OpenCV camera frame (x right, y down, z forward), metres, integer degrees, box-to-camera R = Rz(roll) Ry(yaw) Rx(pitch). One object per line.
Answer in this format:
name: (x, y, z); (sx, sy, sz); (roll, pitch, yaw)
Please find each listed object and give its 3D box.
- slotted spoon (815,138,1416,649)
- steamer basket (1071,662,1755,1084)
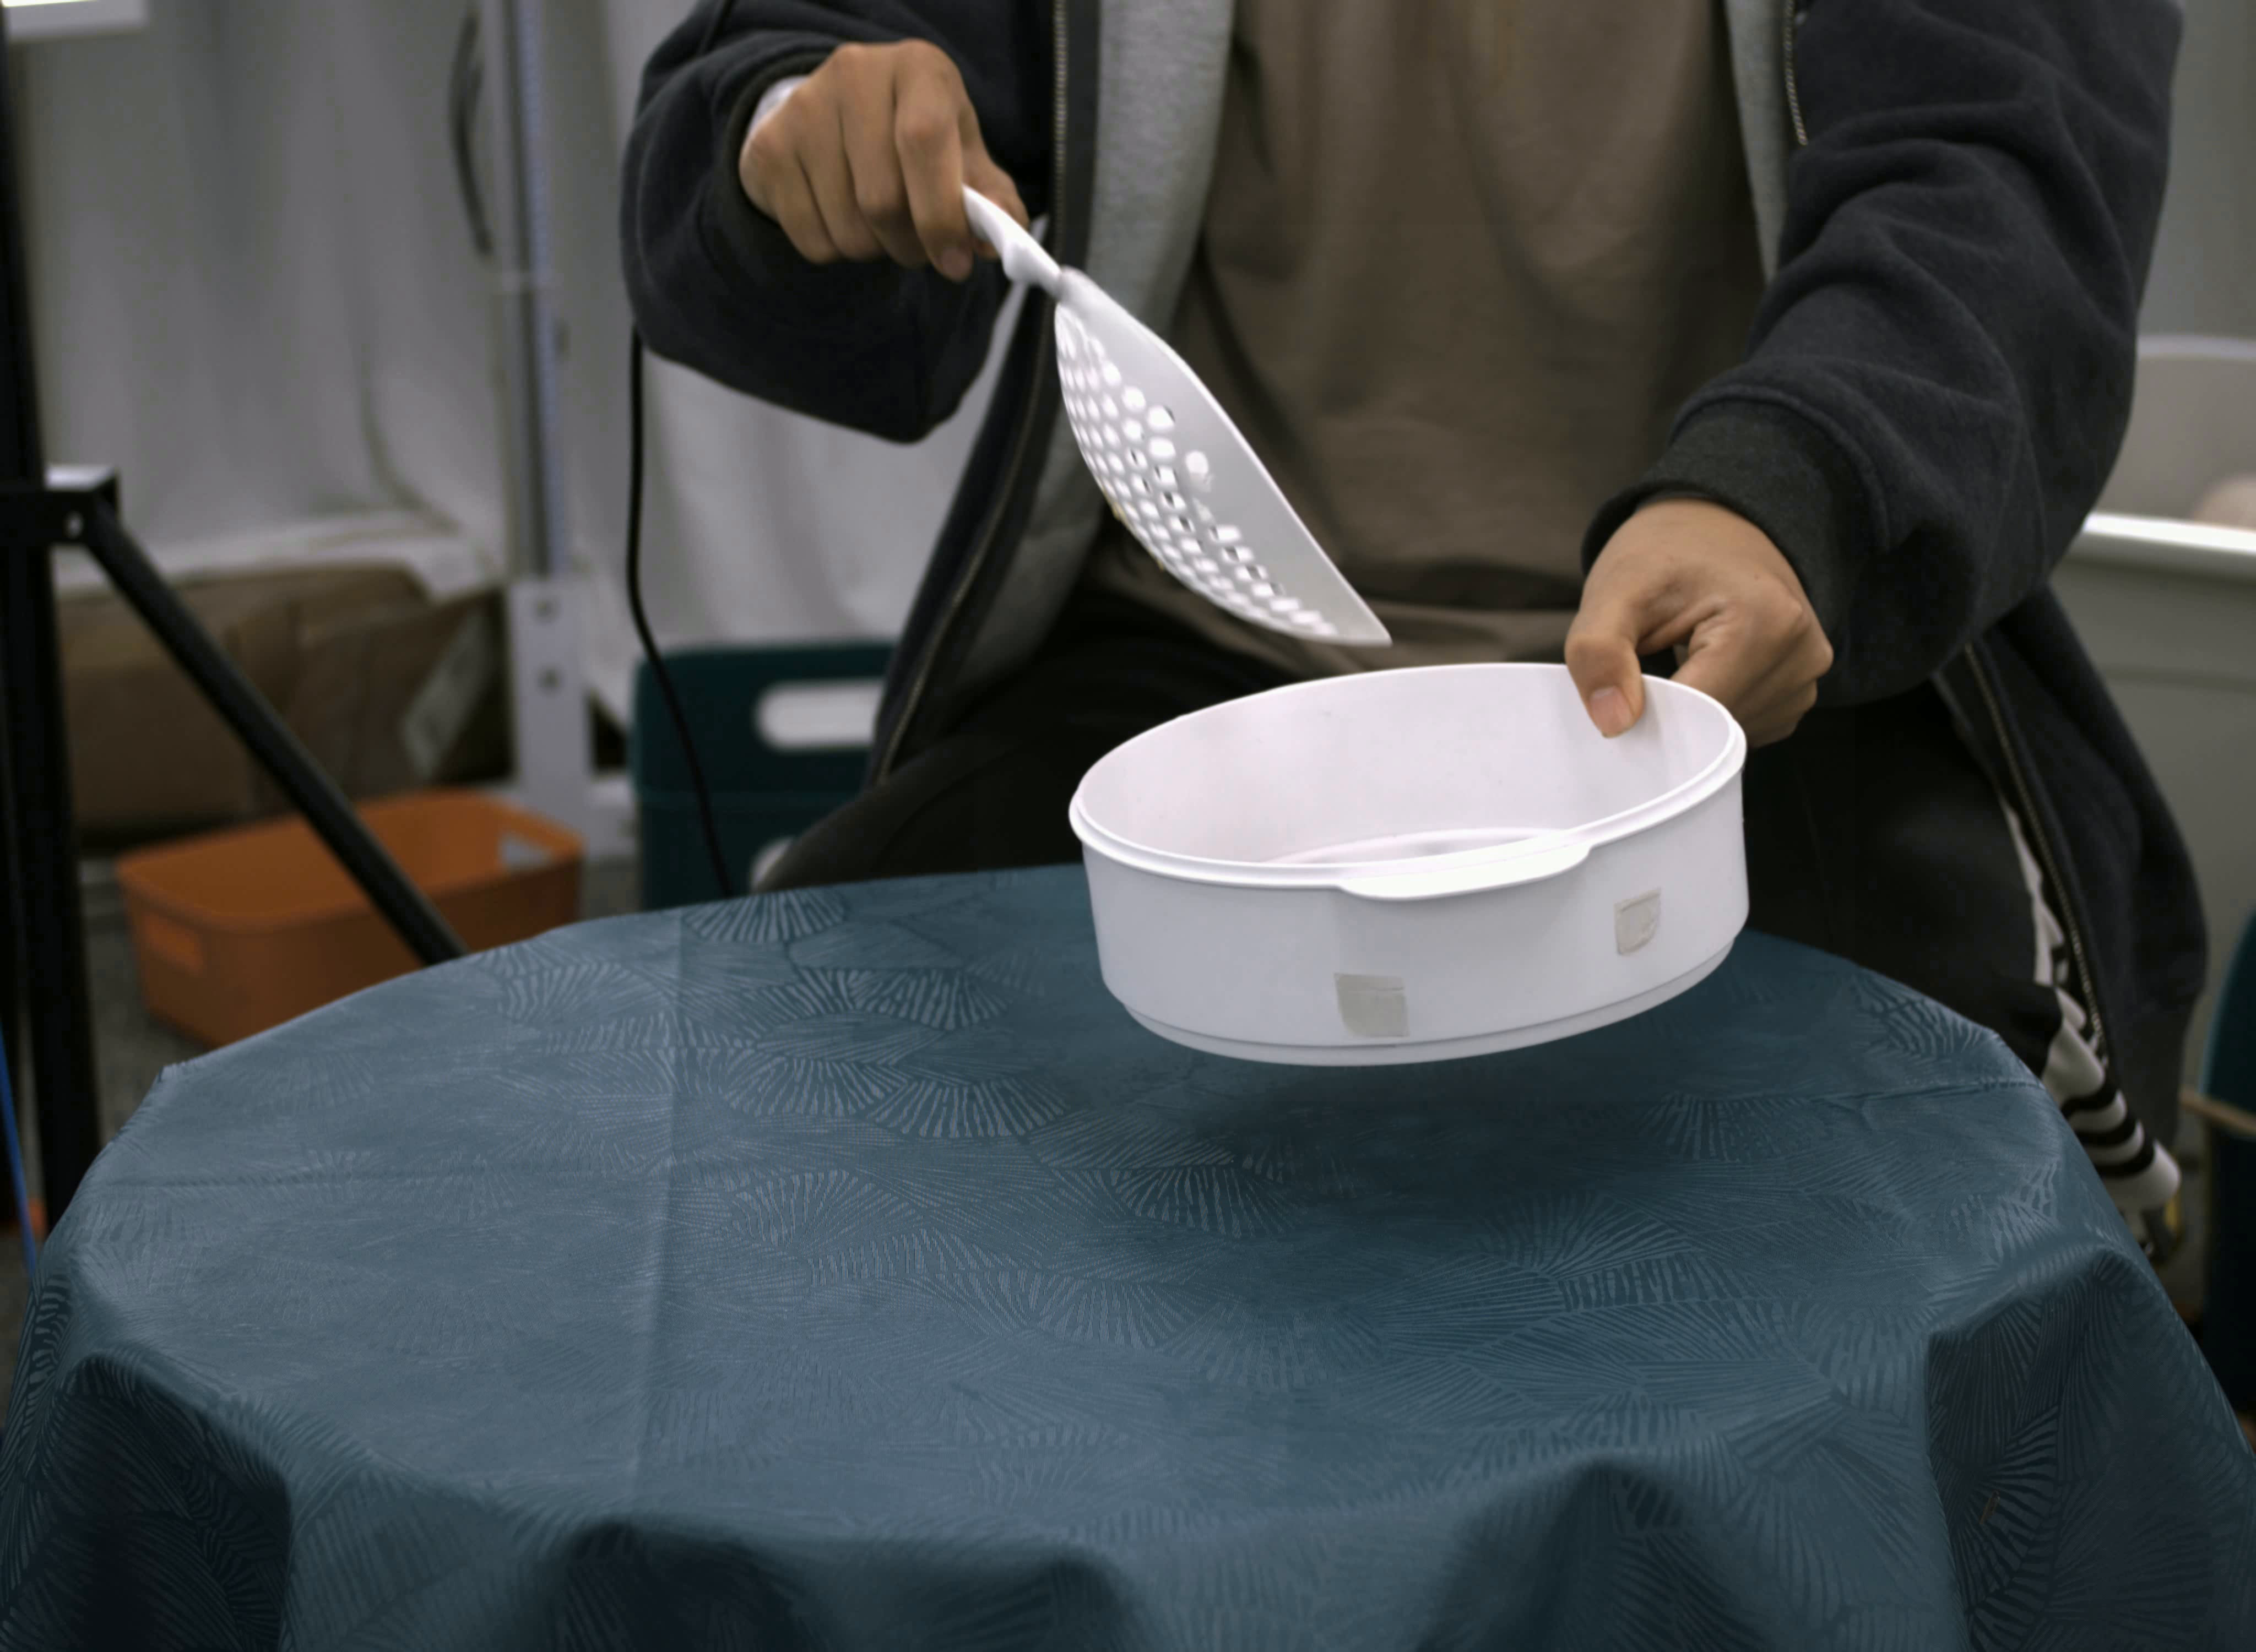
slotted spoon: (-0.018, -0.146, 1.621); (0.050, 0.134, 0.355); (-39, 36, 3)
steamer basket: (0.086, 0.014, 1.568); (0.200, 0.069, 0.233); (-8, 19, -4)
